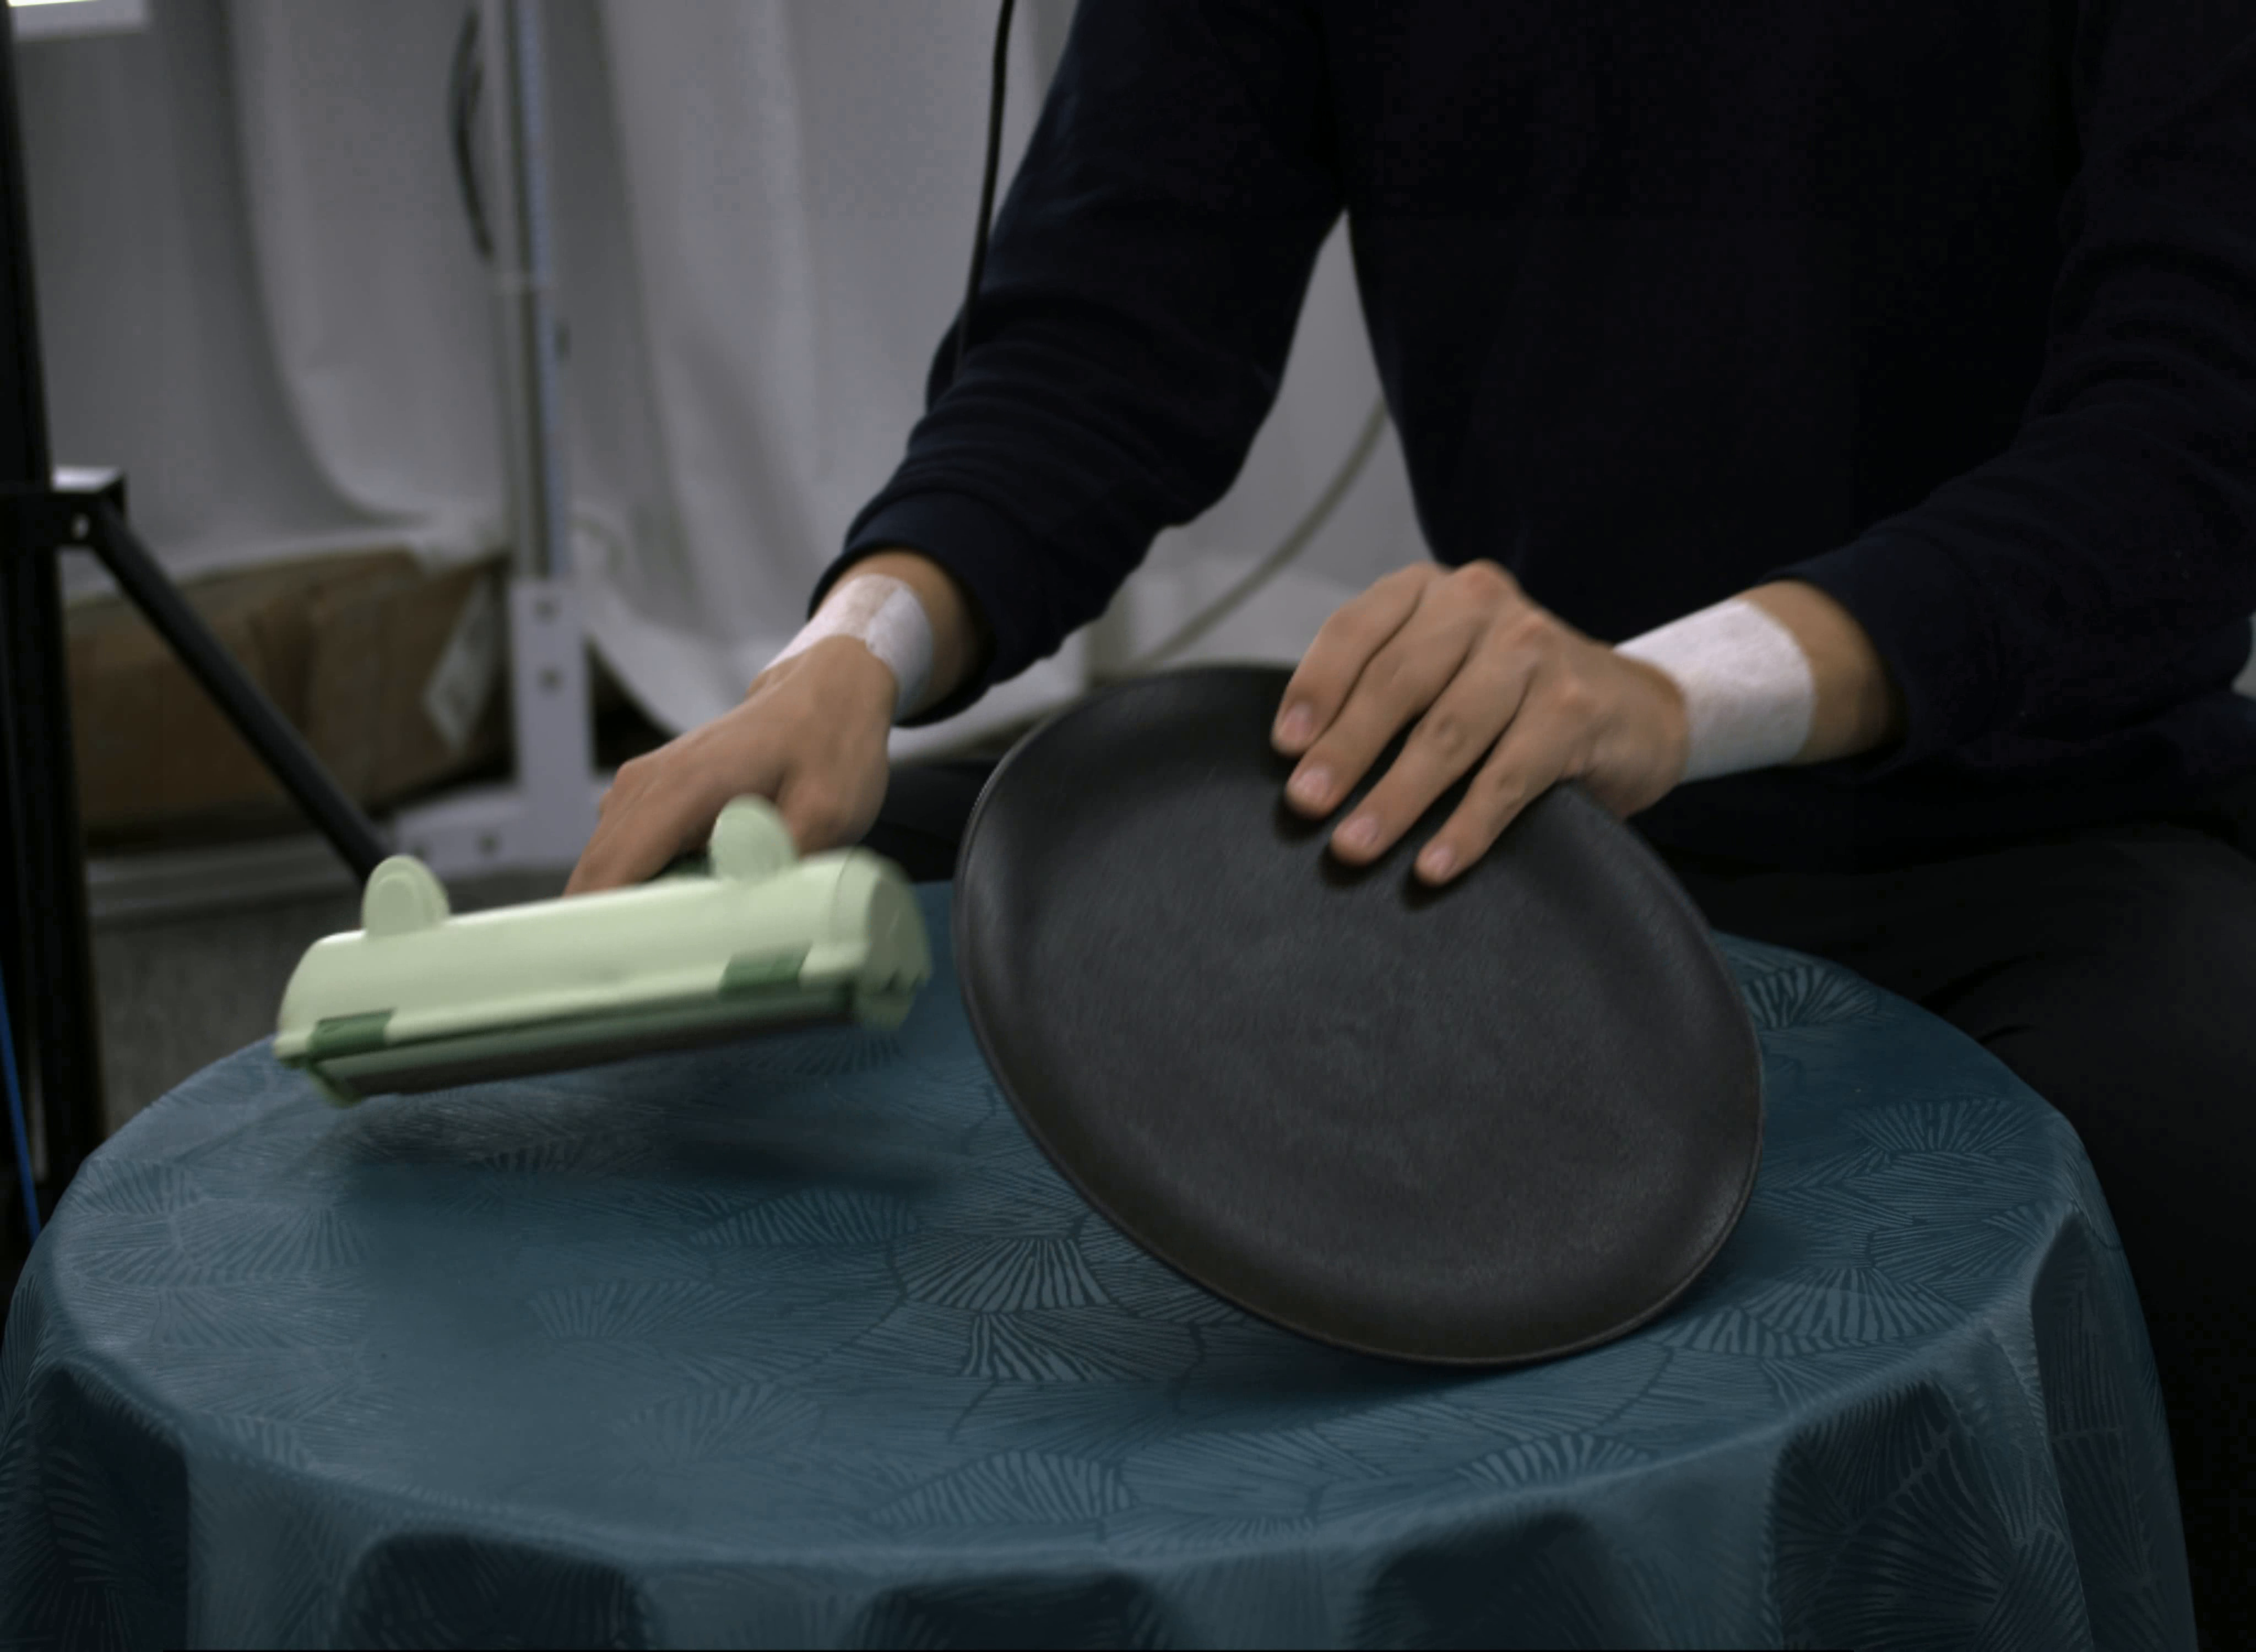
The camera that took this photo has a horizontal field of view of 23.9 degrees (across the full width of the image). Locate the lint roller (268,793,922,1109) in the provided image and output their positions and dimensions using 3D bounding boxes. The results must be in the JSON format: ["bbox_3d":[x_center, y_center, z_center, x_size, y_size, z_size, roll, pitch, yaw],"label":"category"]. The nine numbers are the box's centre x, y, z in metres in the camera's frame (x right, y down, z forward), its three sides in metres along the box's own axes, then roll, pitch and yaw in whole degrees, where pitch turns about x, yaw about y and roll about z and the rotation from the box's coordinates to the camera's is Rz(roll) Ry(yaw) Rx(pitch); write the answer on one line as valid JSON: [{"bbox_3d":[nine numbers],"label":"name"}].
[{"bbox_3d":[-0.152,0.015,1.659,0.200,0.081,0.183,-7,28,20],"label":"lint roller"}]

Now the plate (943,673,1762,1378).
[{"bbox_3d":[0.062,0.056,1.477,0.240,0.023,0.247,11,47,-13],"label":"plate"}]
